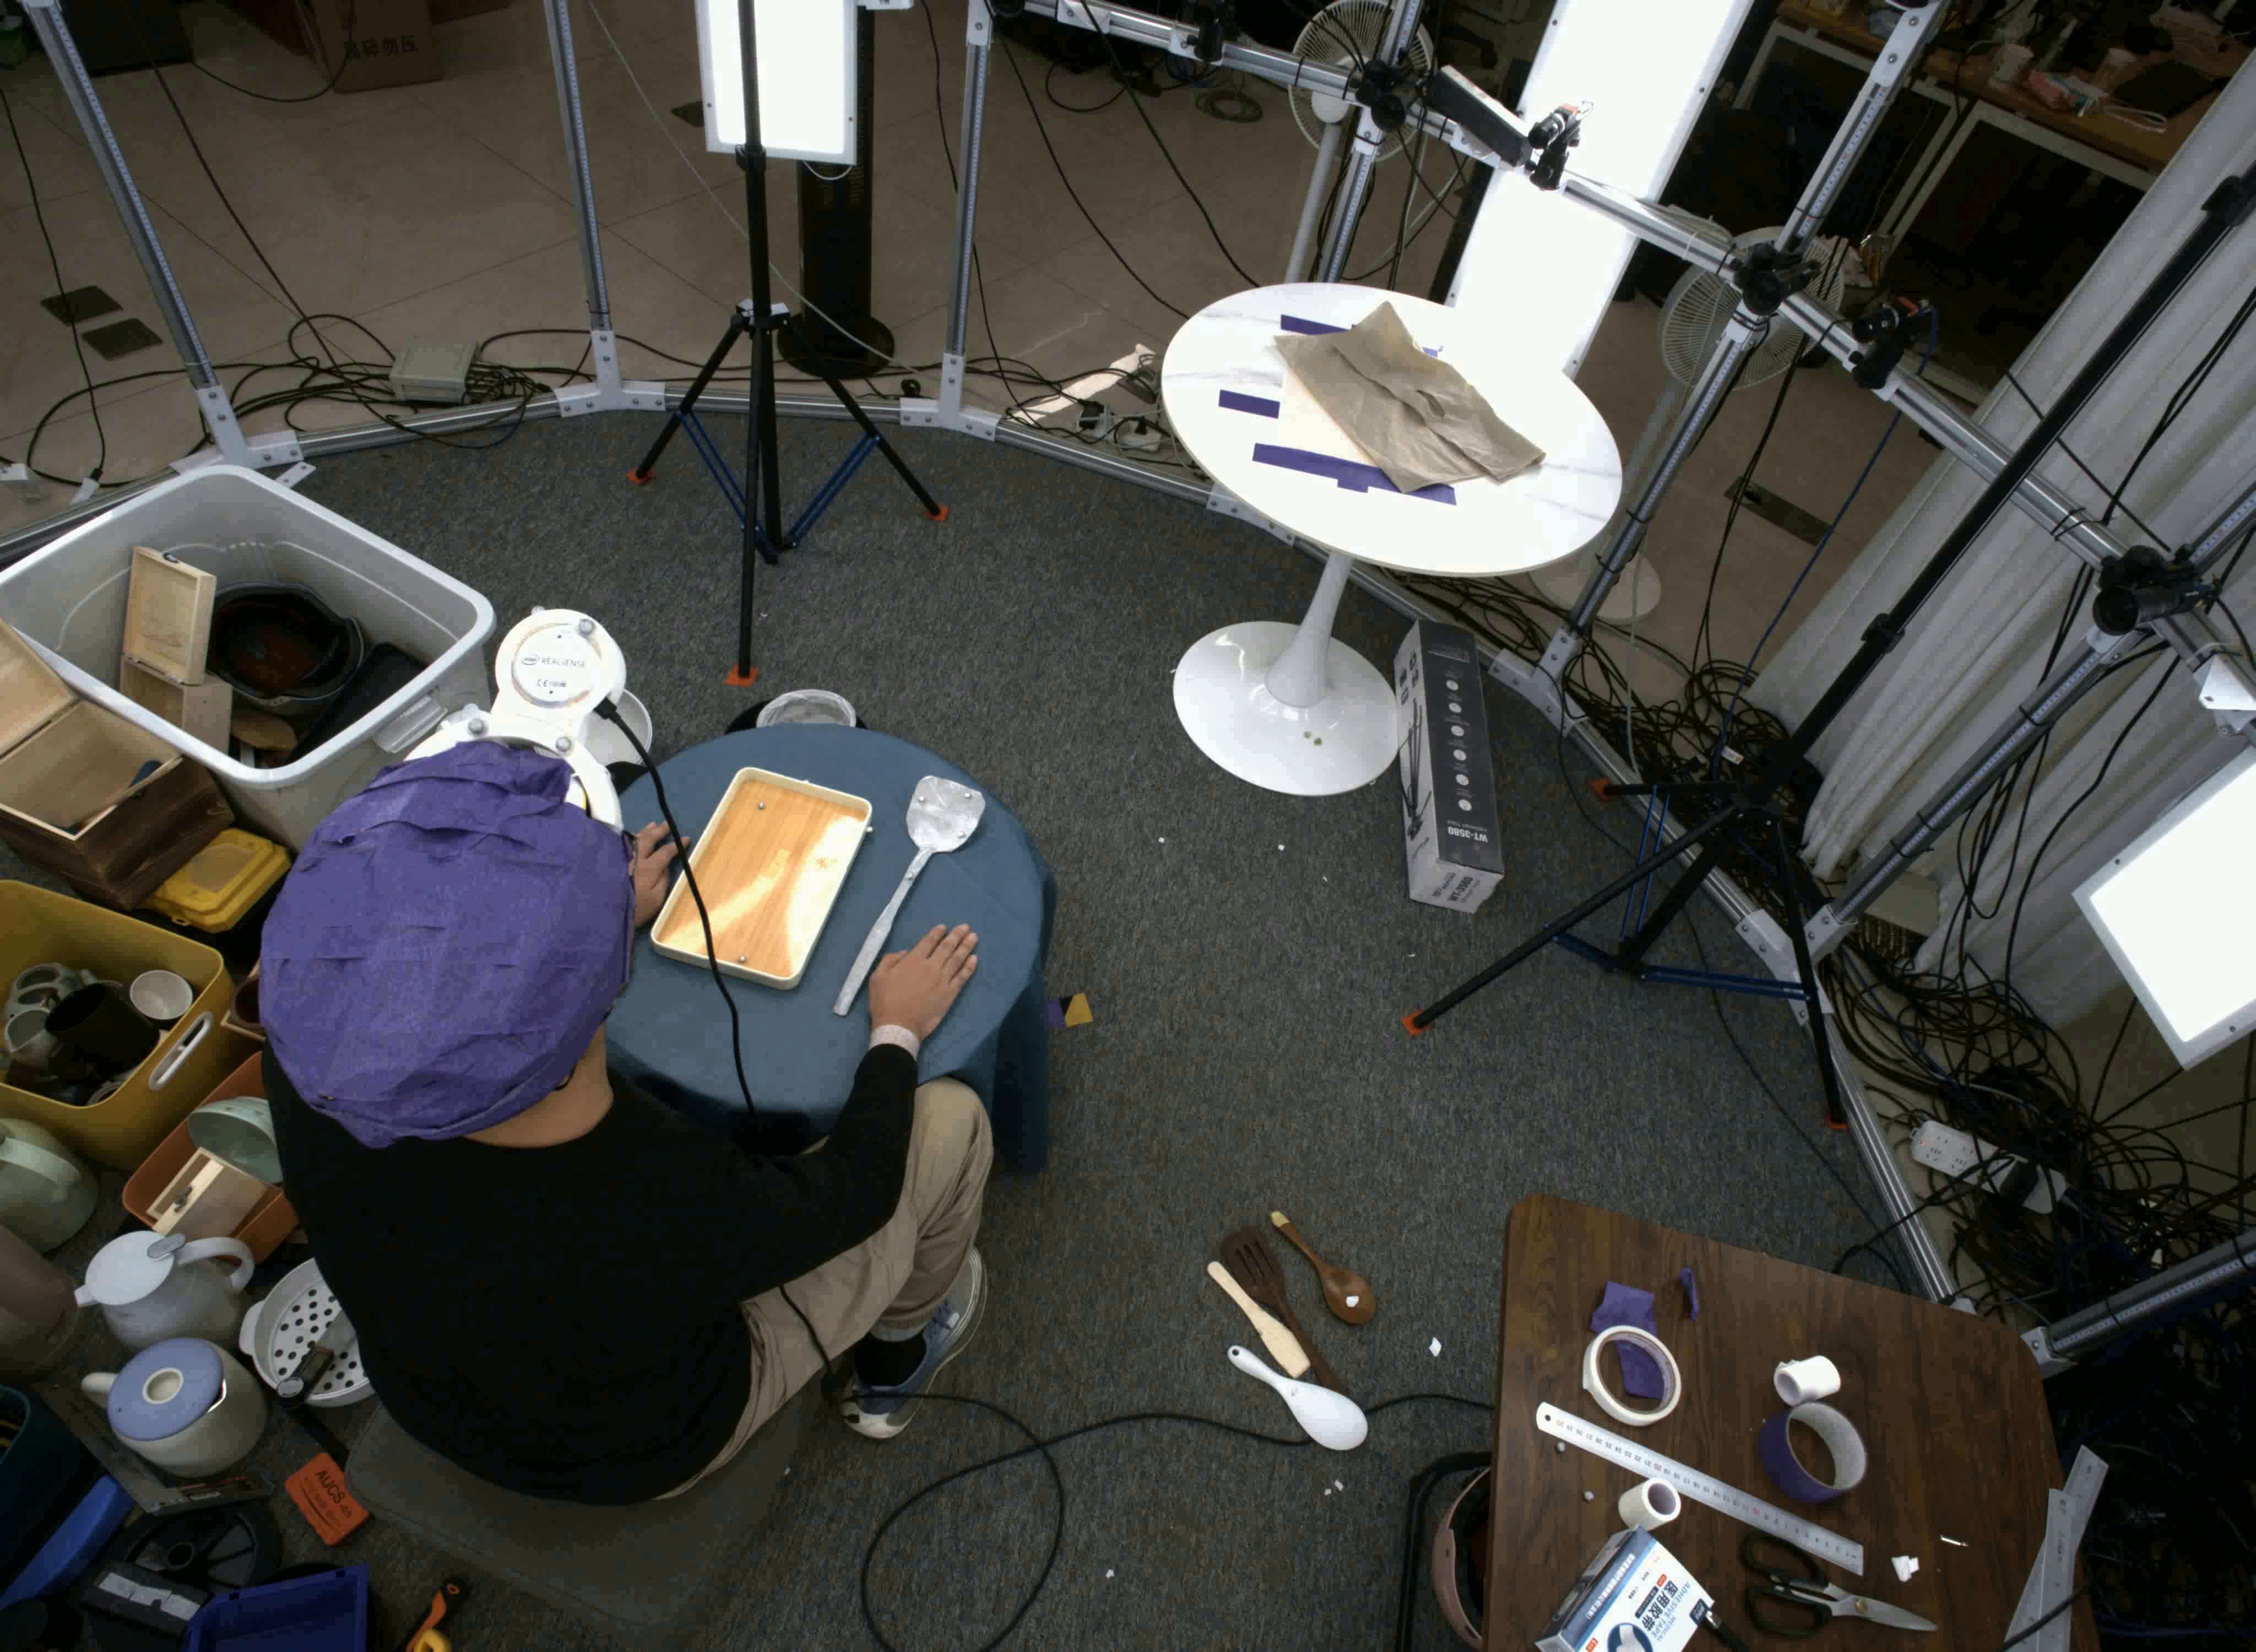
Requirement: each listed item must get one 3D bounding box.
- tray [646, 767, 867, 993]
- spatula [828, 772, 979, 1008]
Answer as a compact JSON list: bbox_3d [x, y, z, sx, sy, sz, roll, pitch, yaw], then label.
[{"bbox_3d":[-0.466,0.060,1.645,0.190,0.028,0.296,17,52,-2],"label":"tray"},{"bbox_3d":[-0.297,0.078,1.669,0.098,0.045,0.361,21,51,1],"label":"spatula"}]
